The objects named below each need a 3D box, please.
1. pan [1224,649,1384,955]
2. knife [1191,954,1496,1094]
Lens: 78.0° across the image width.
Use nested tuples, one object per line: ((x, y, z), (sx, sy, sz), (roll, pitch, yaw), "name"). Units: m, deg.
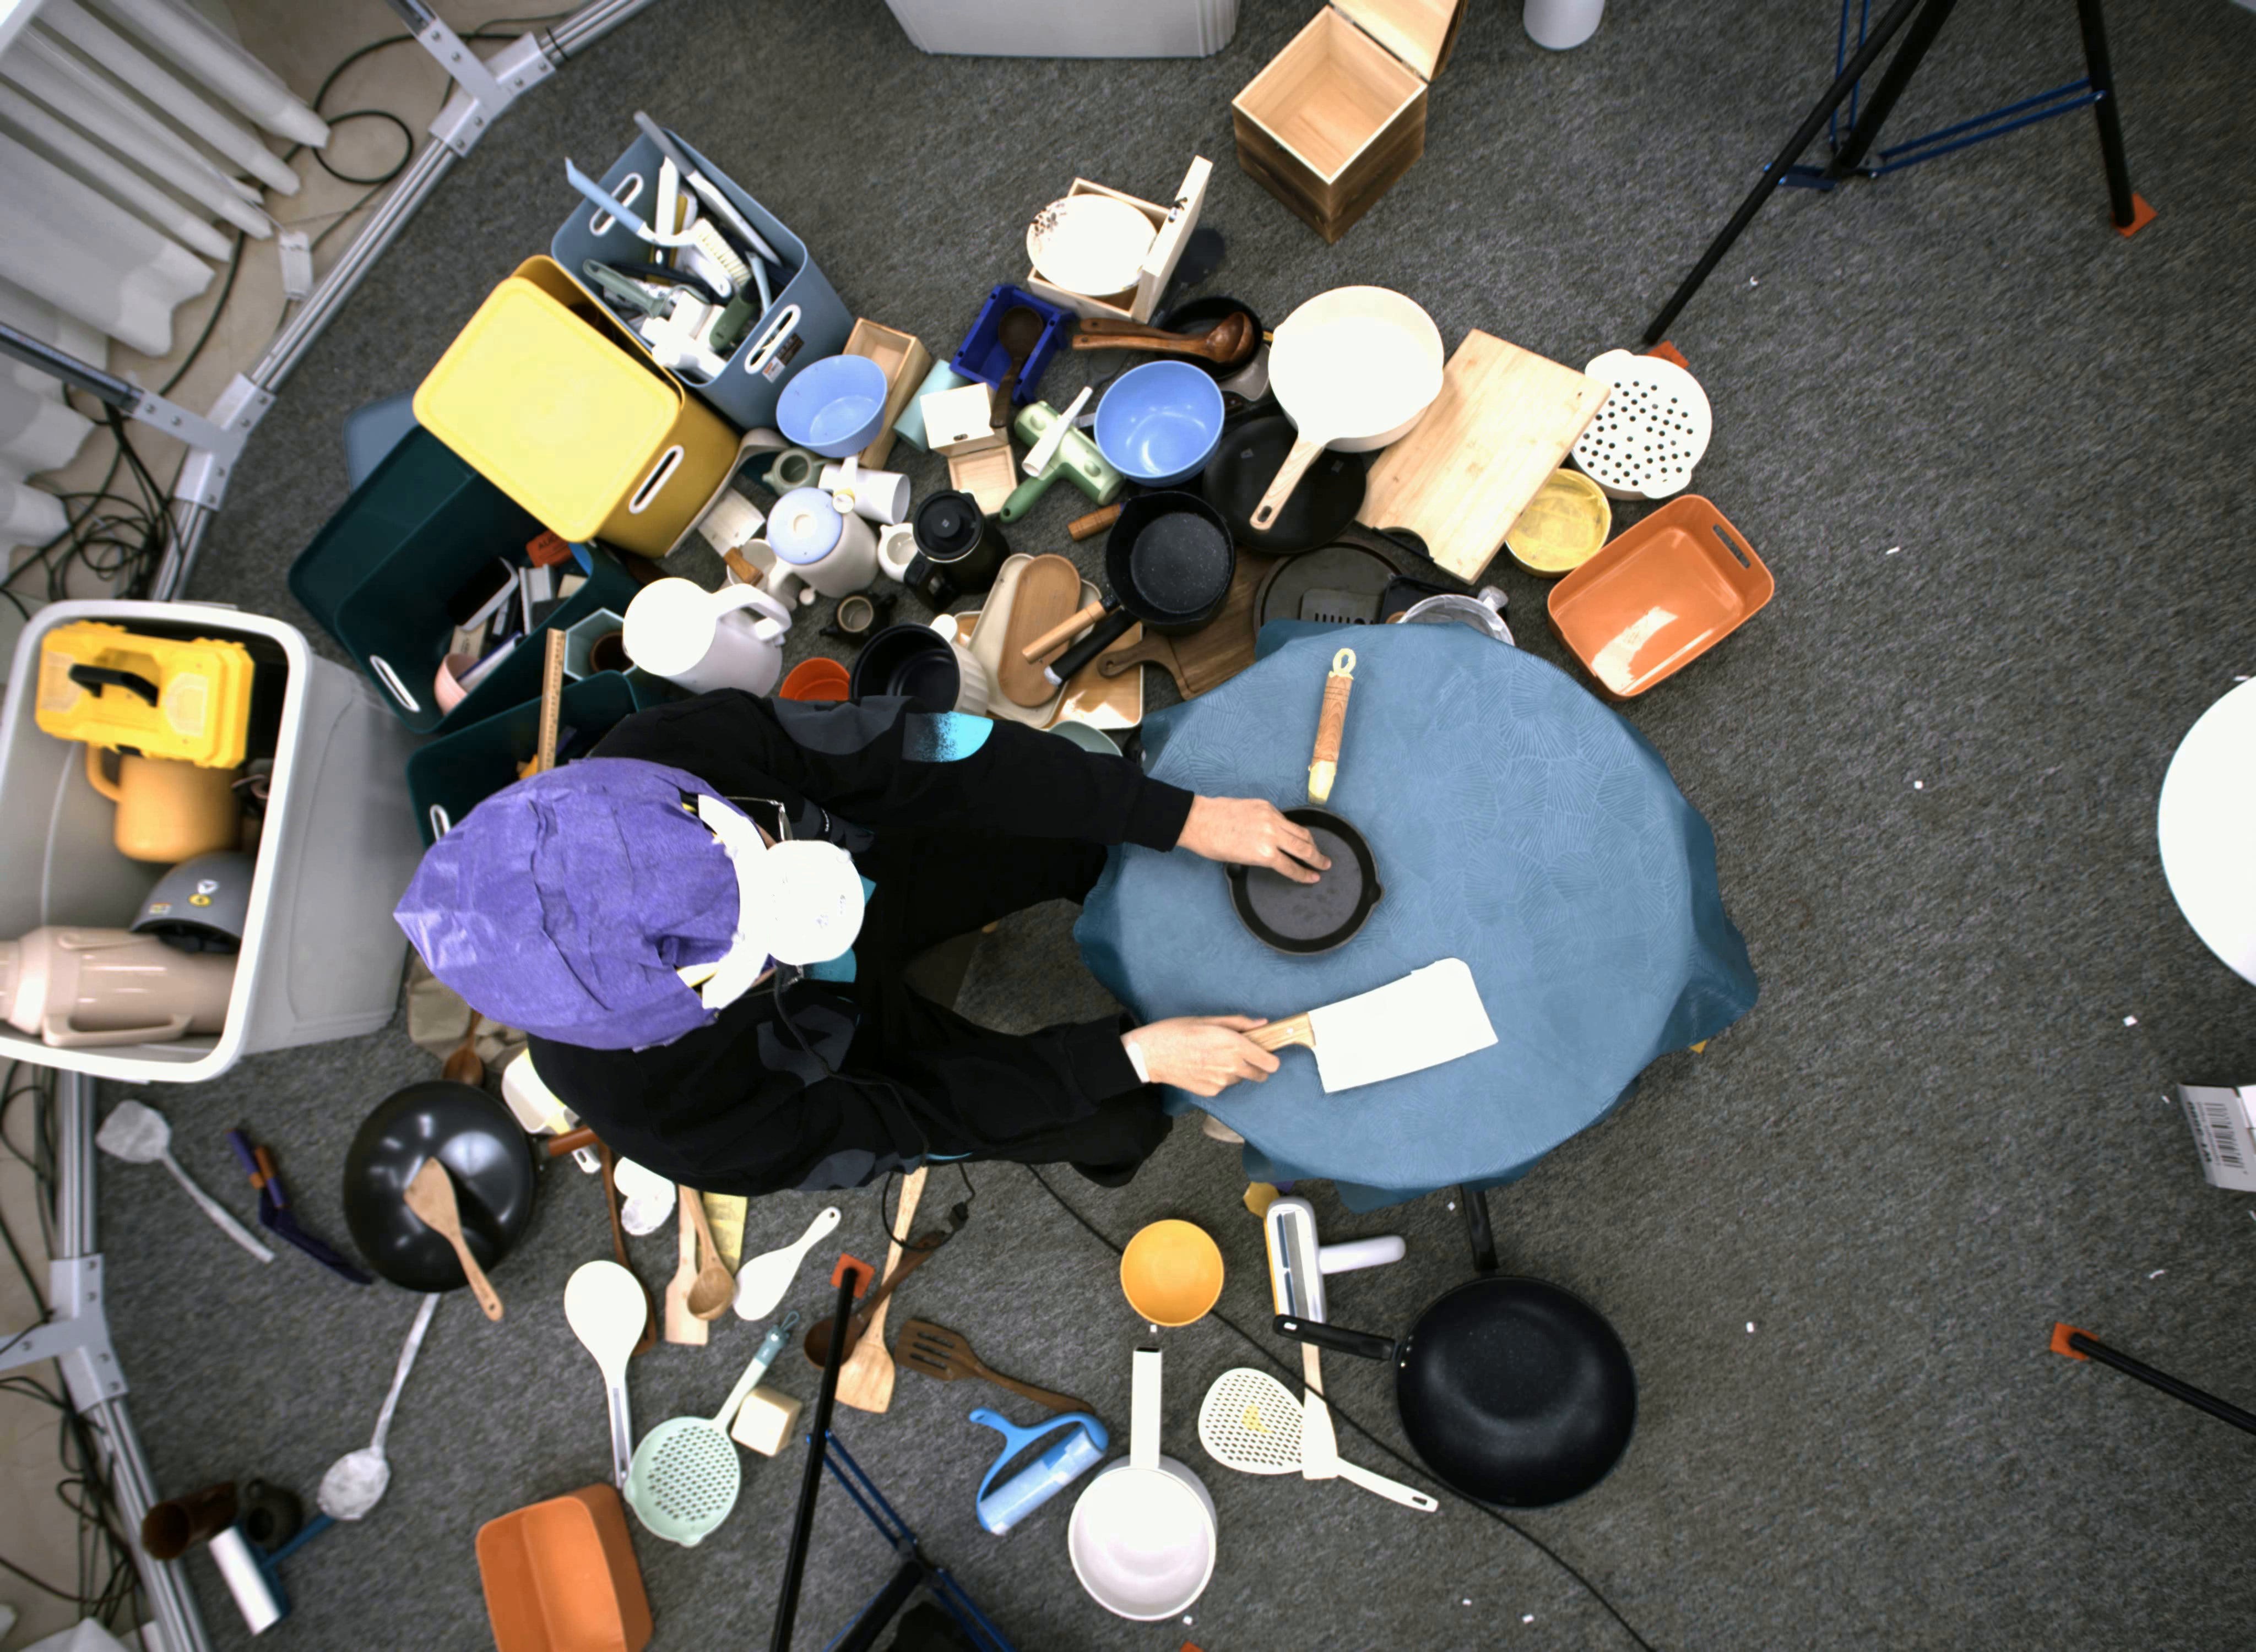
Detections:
((0.200, -0.026, 1.453), (0.169, 0.049, 0.323), (11, 90, 12), "pan")
((0.221, 0.217, 1.442), (0.316, 0.022, 0.113), (-14, 85, 3), "knife")
